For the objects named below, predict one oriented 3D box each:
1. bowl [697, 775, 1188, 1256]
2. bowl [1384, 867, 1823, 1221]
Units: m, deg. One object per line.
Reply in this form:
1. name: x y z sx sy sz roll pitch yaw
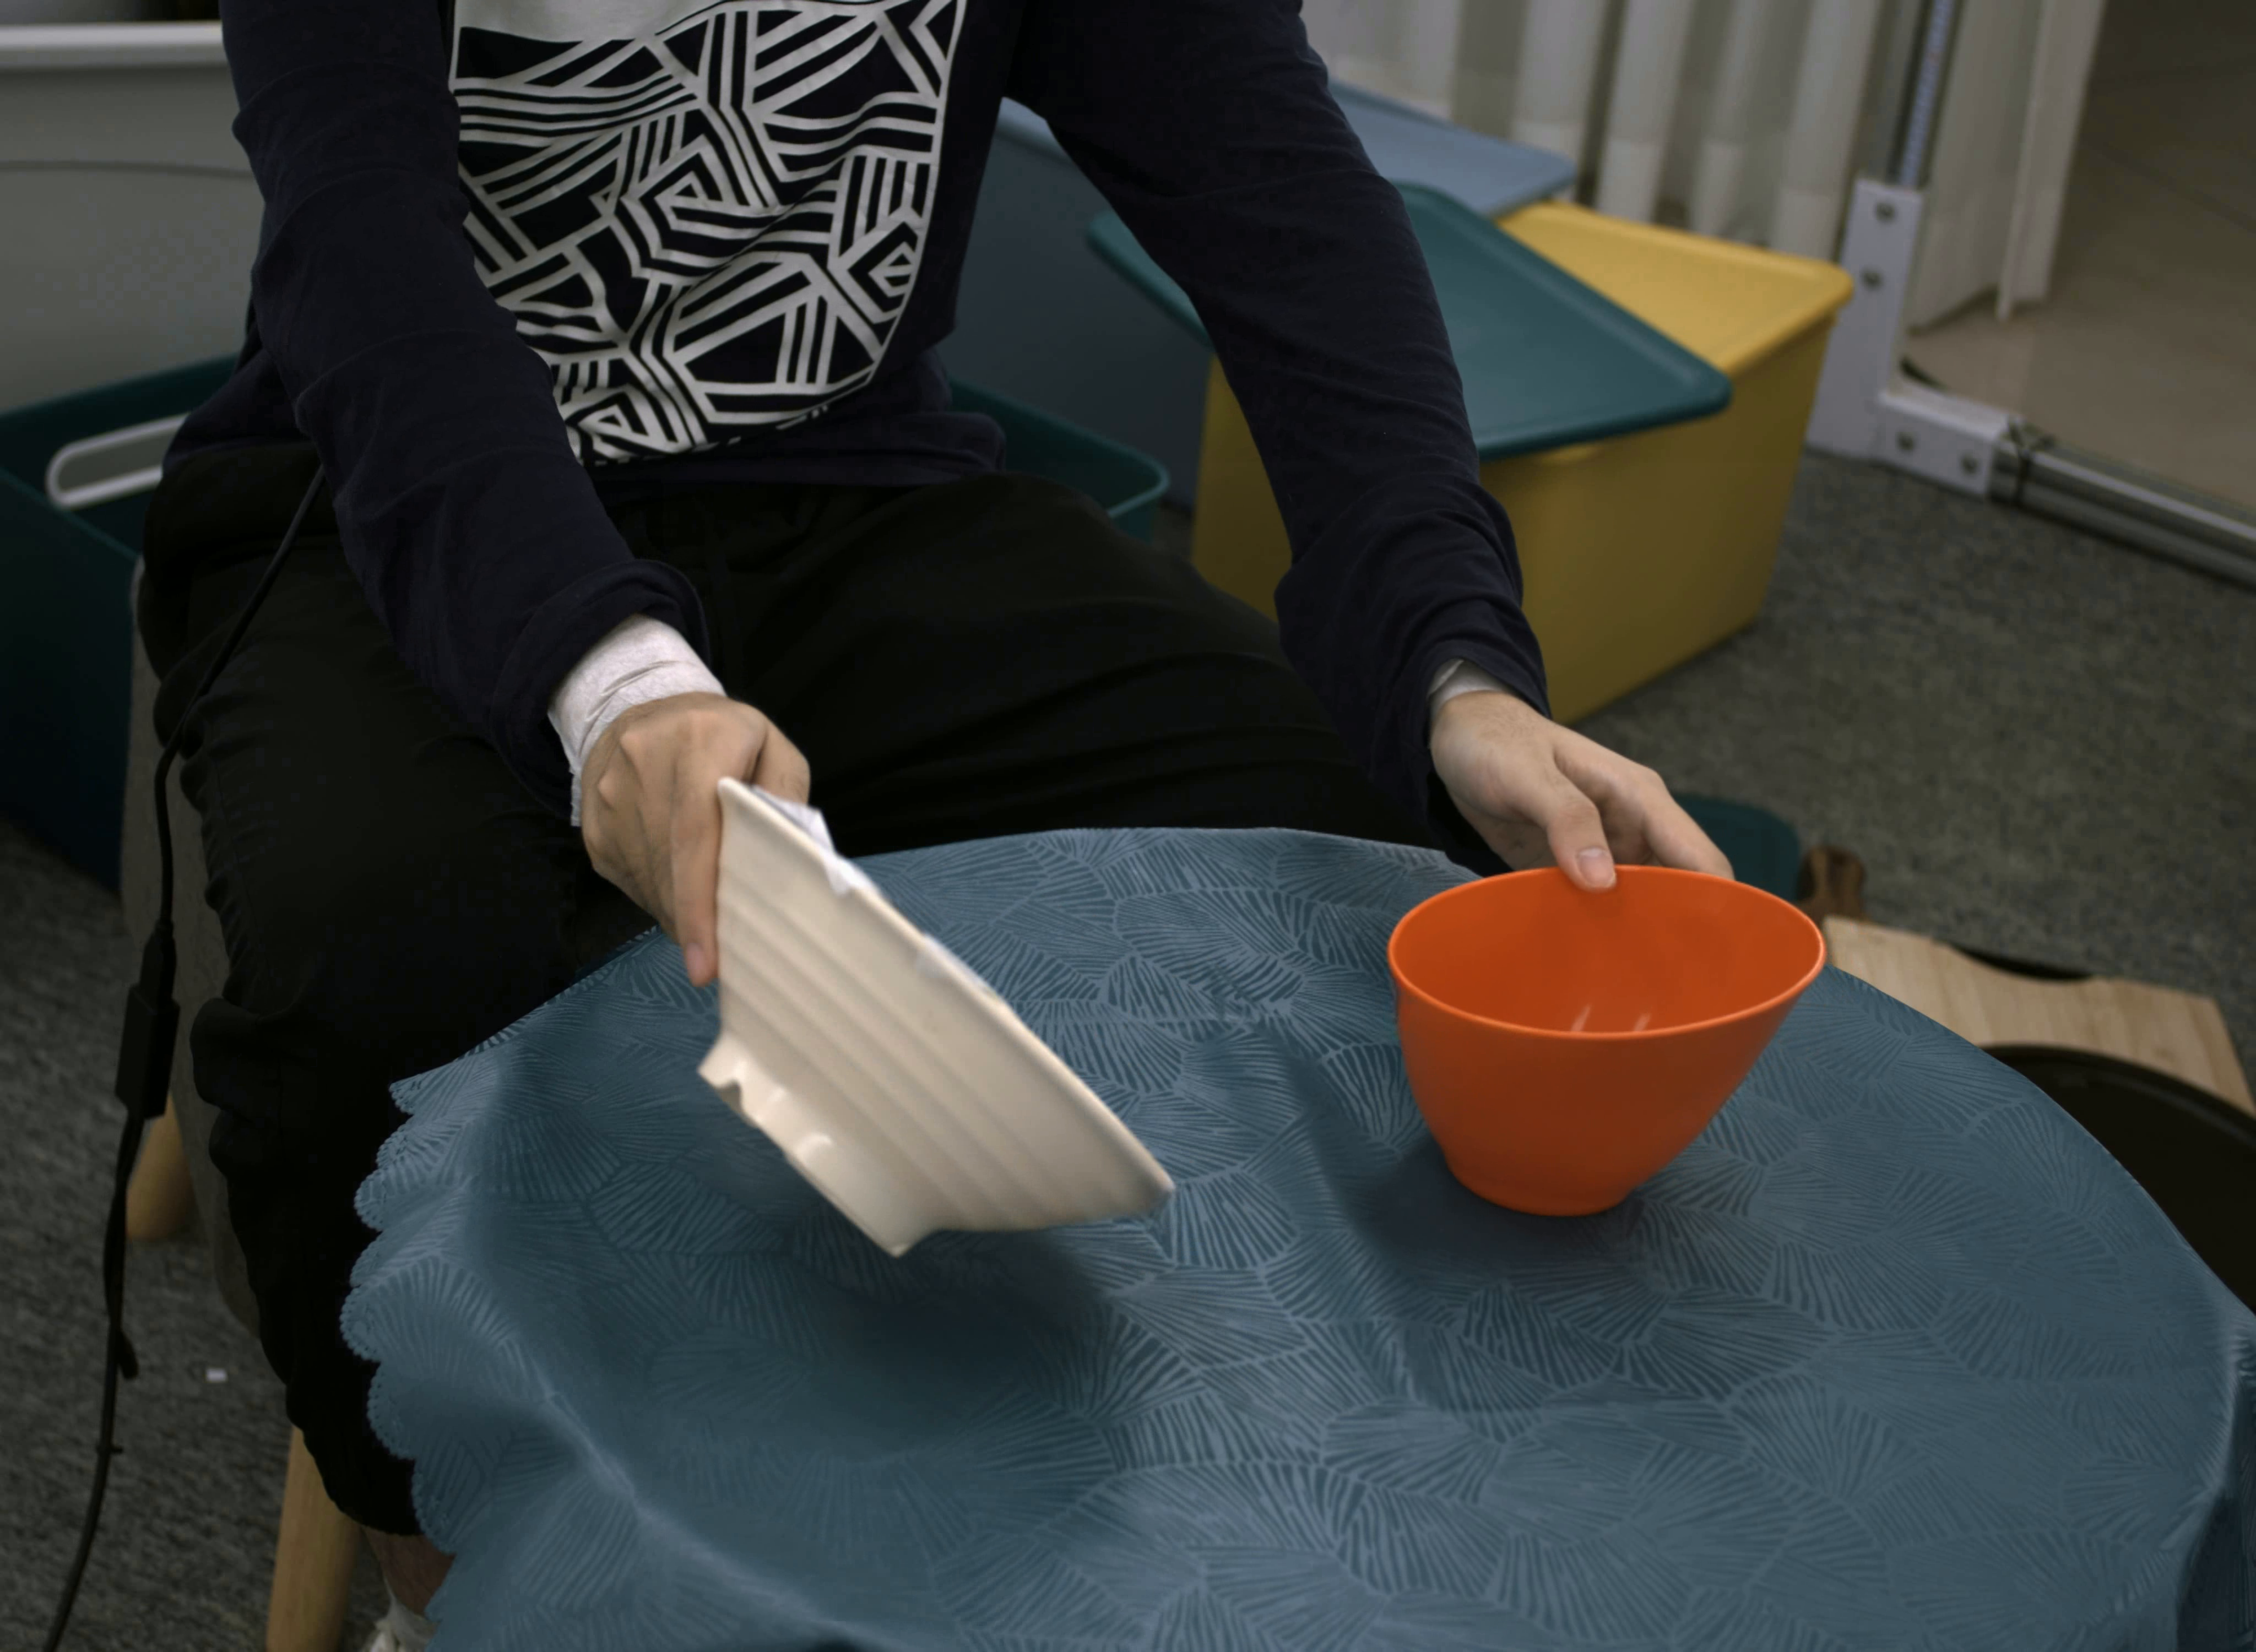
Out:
1. bowl: -0.080 0.080 1.697 0.078 0.202 0.206 -48 45 -5
2. bowl: 0.157 0.078 1.820 0.147 0.104 0.149 4 26 -2
